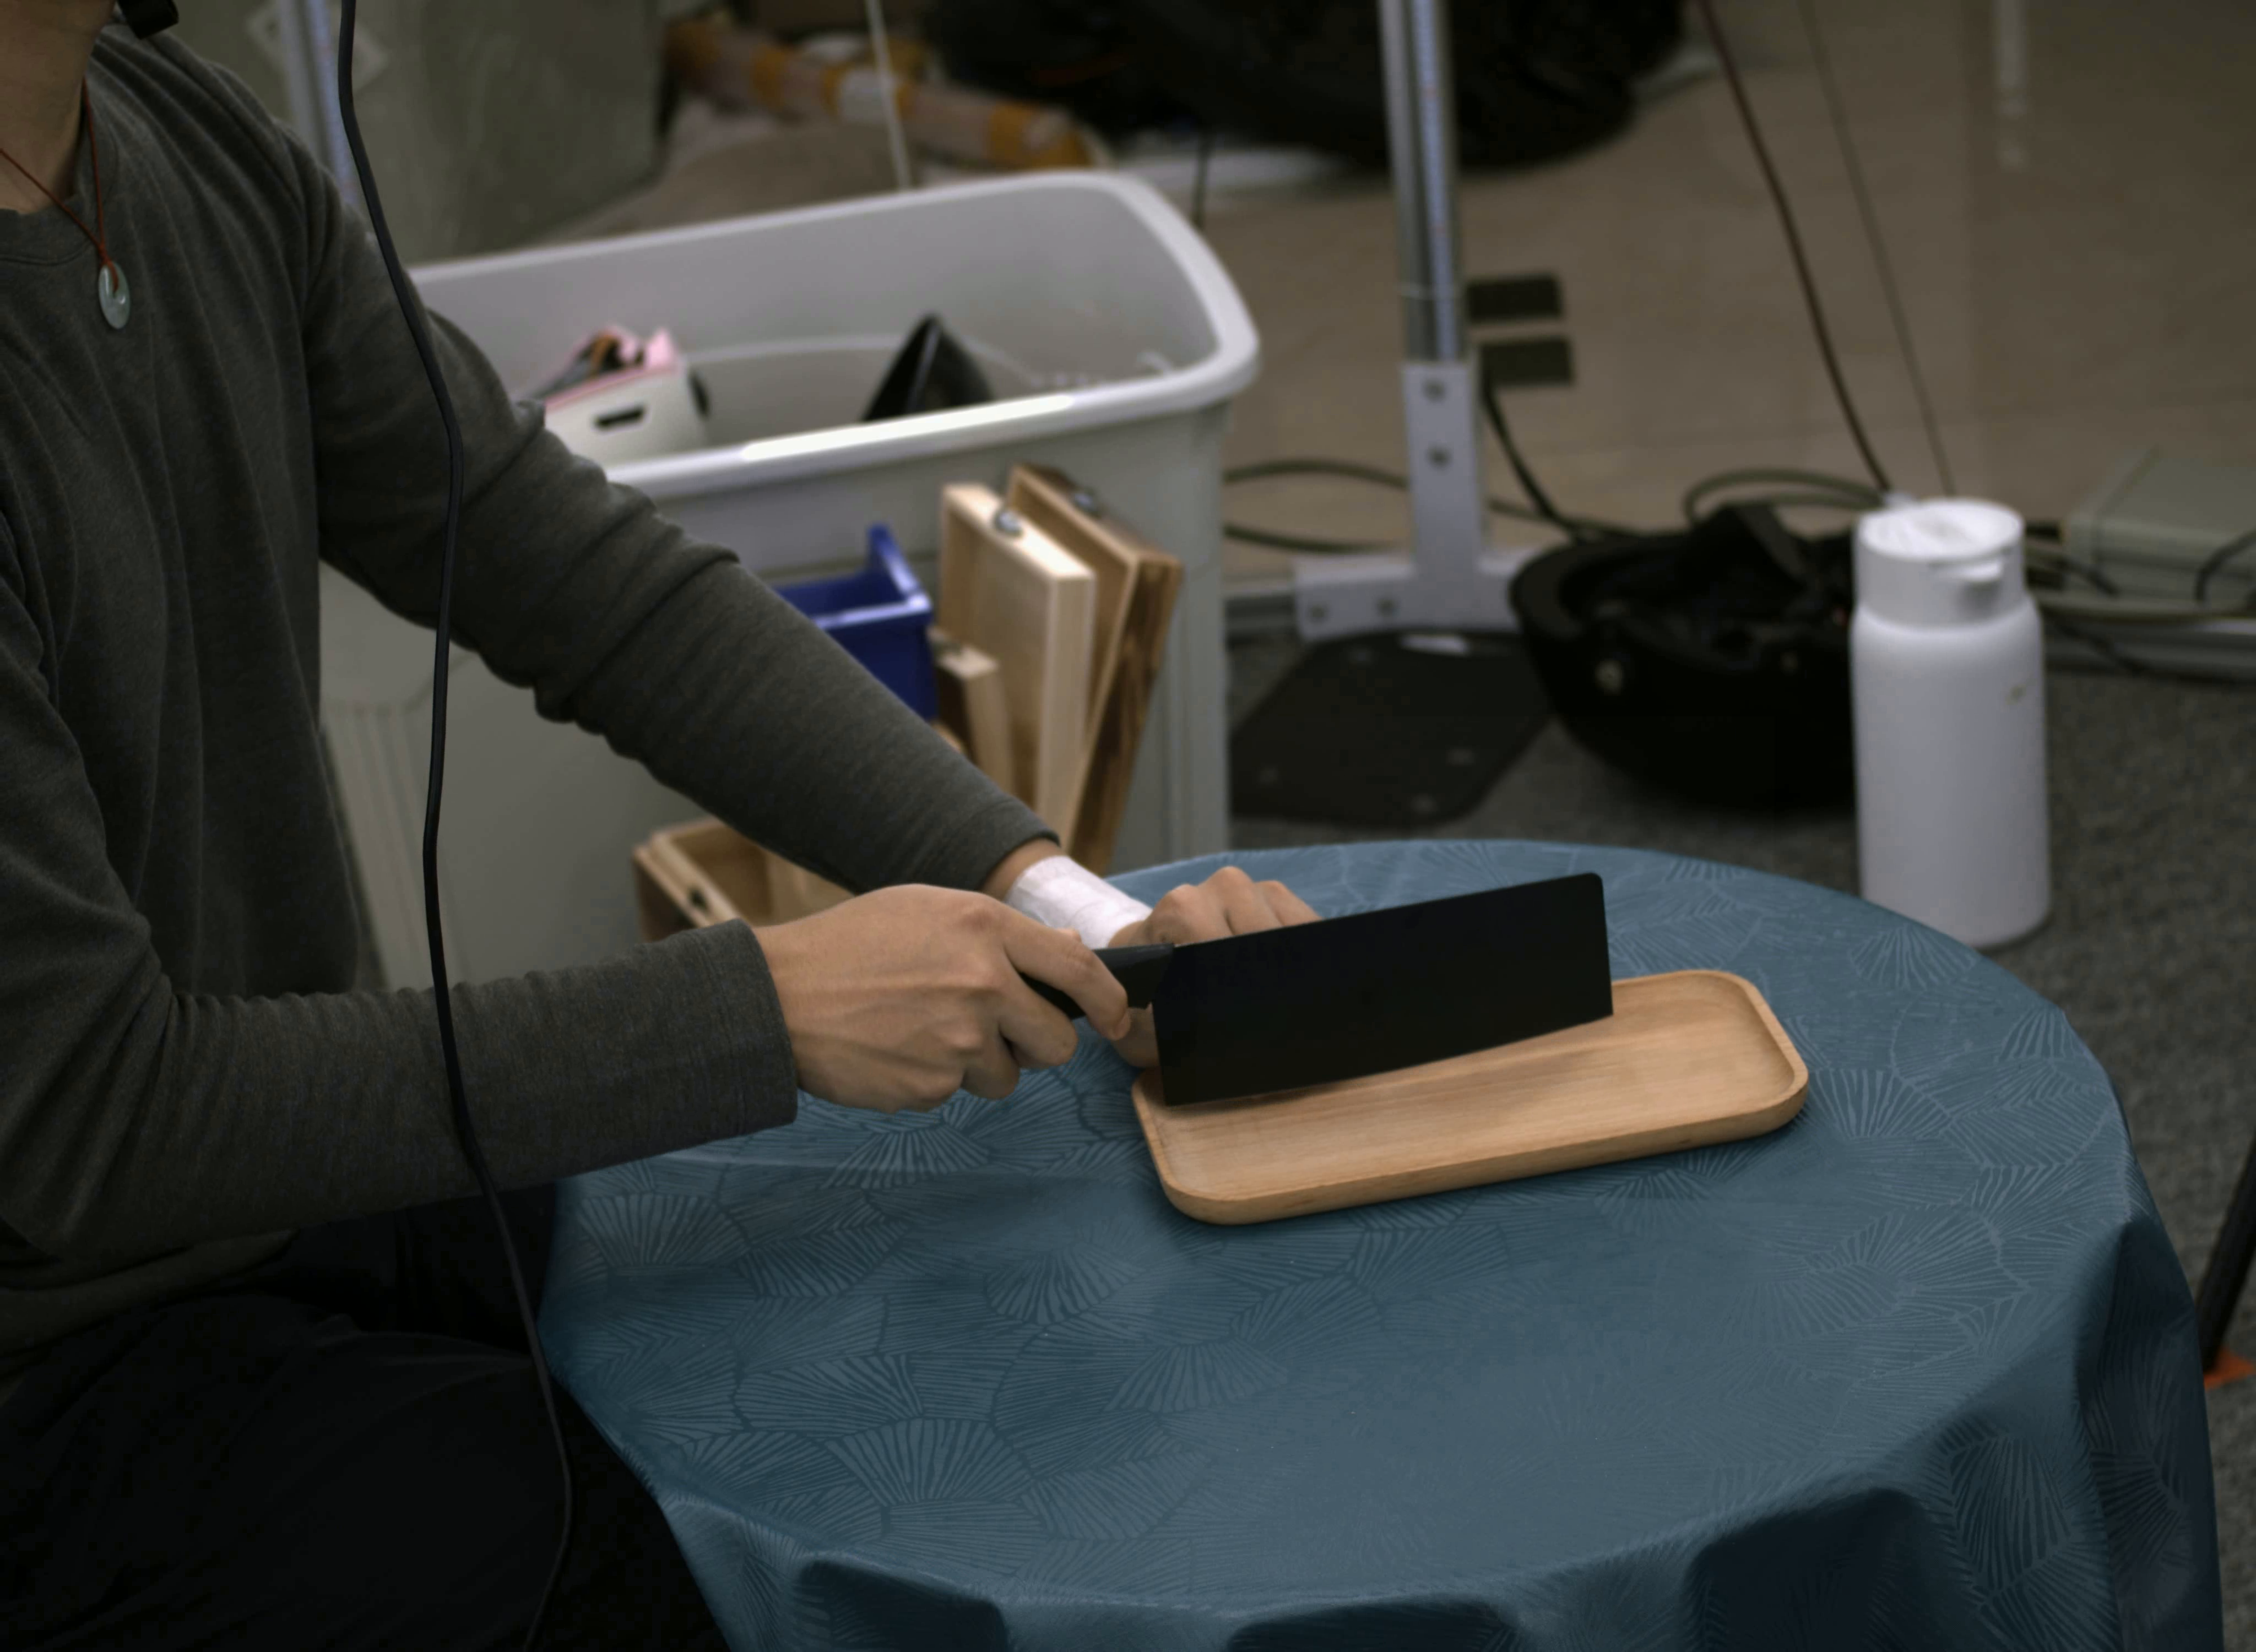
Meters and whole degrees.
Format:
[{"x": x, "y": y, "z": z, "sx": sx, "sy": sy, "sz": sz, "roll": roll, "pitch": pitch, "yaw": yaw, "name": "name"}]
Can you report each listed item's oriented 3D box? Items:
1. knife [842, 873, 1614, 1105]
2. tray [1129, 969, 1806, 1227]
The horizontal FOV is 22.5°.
[{"x": 0.040, "y": 0.069, "z": 2.167, "sx": 0.302, "sy": 0.082, "sz": 0.020, "roll": -6, "pitch": 19, "yaw": -10, "name": "knife"}, {"x": 0.129, "y": 0.104, "z": 2.177, "sx": 0.250, "sy": 0.023, "sz": 0.129, "roll": -10, "pitch": 22, "yaw": -4, "name": "tray"}]
